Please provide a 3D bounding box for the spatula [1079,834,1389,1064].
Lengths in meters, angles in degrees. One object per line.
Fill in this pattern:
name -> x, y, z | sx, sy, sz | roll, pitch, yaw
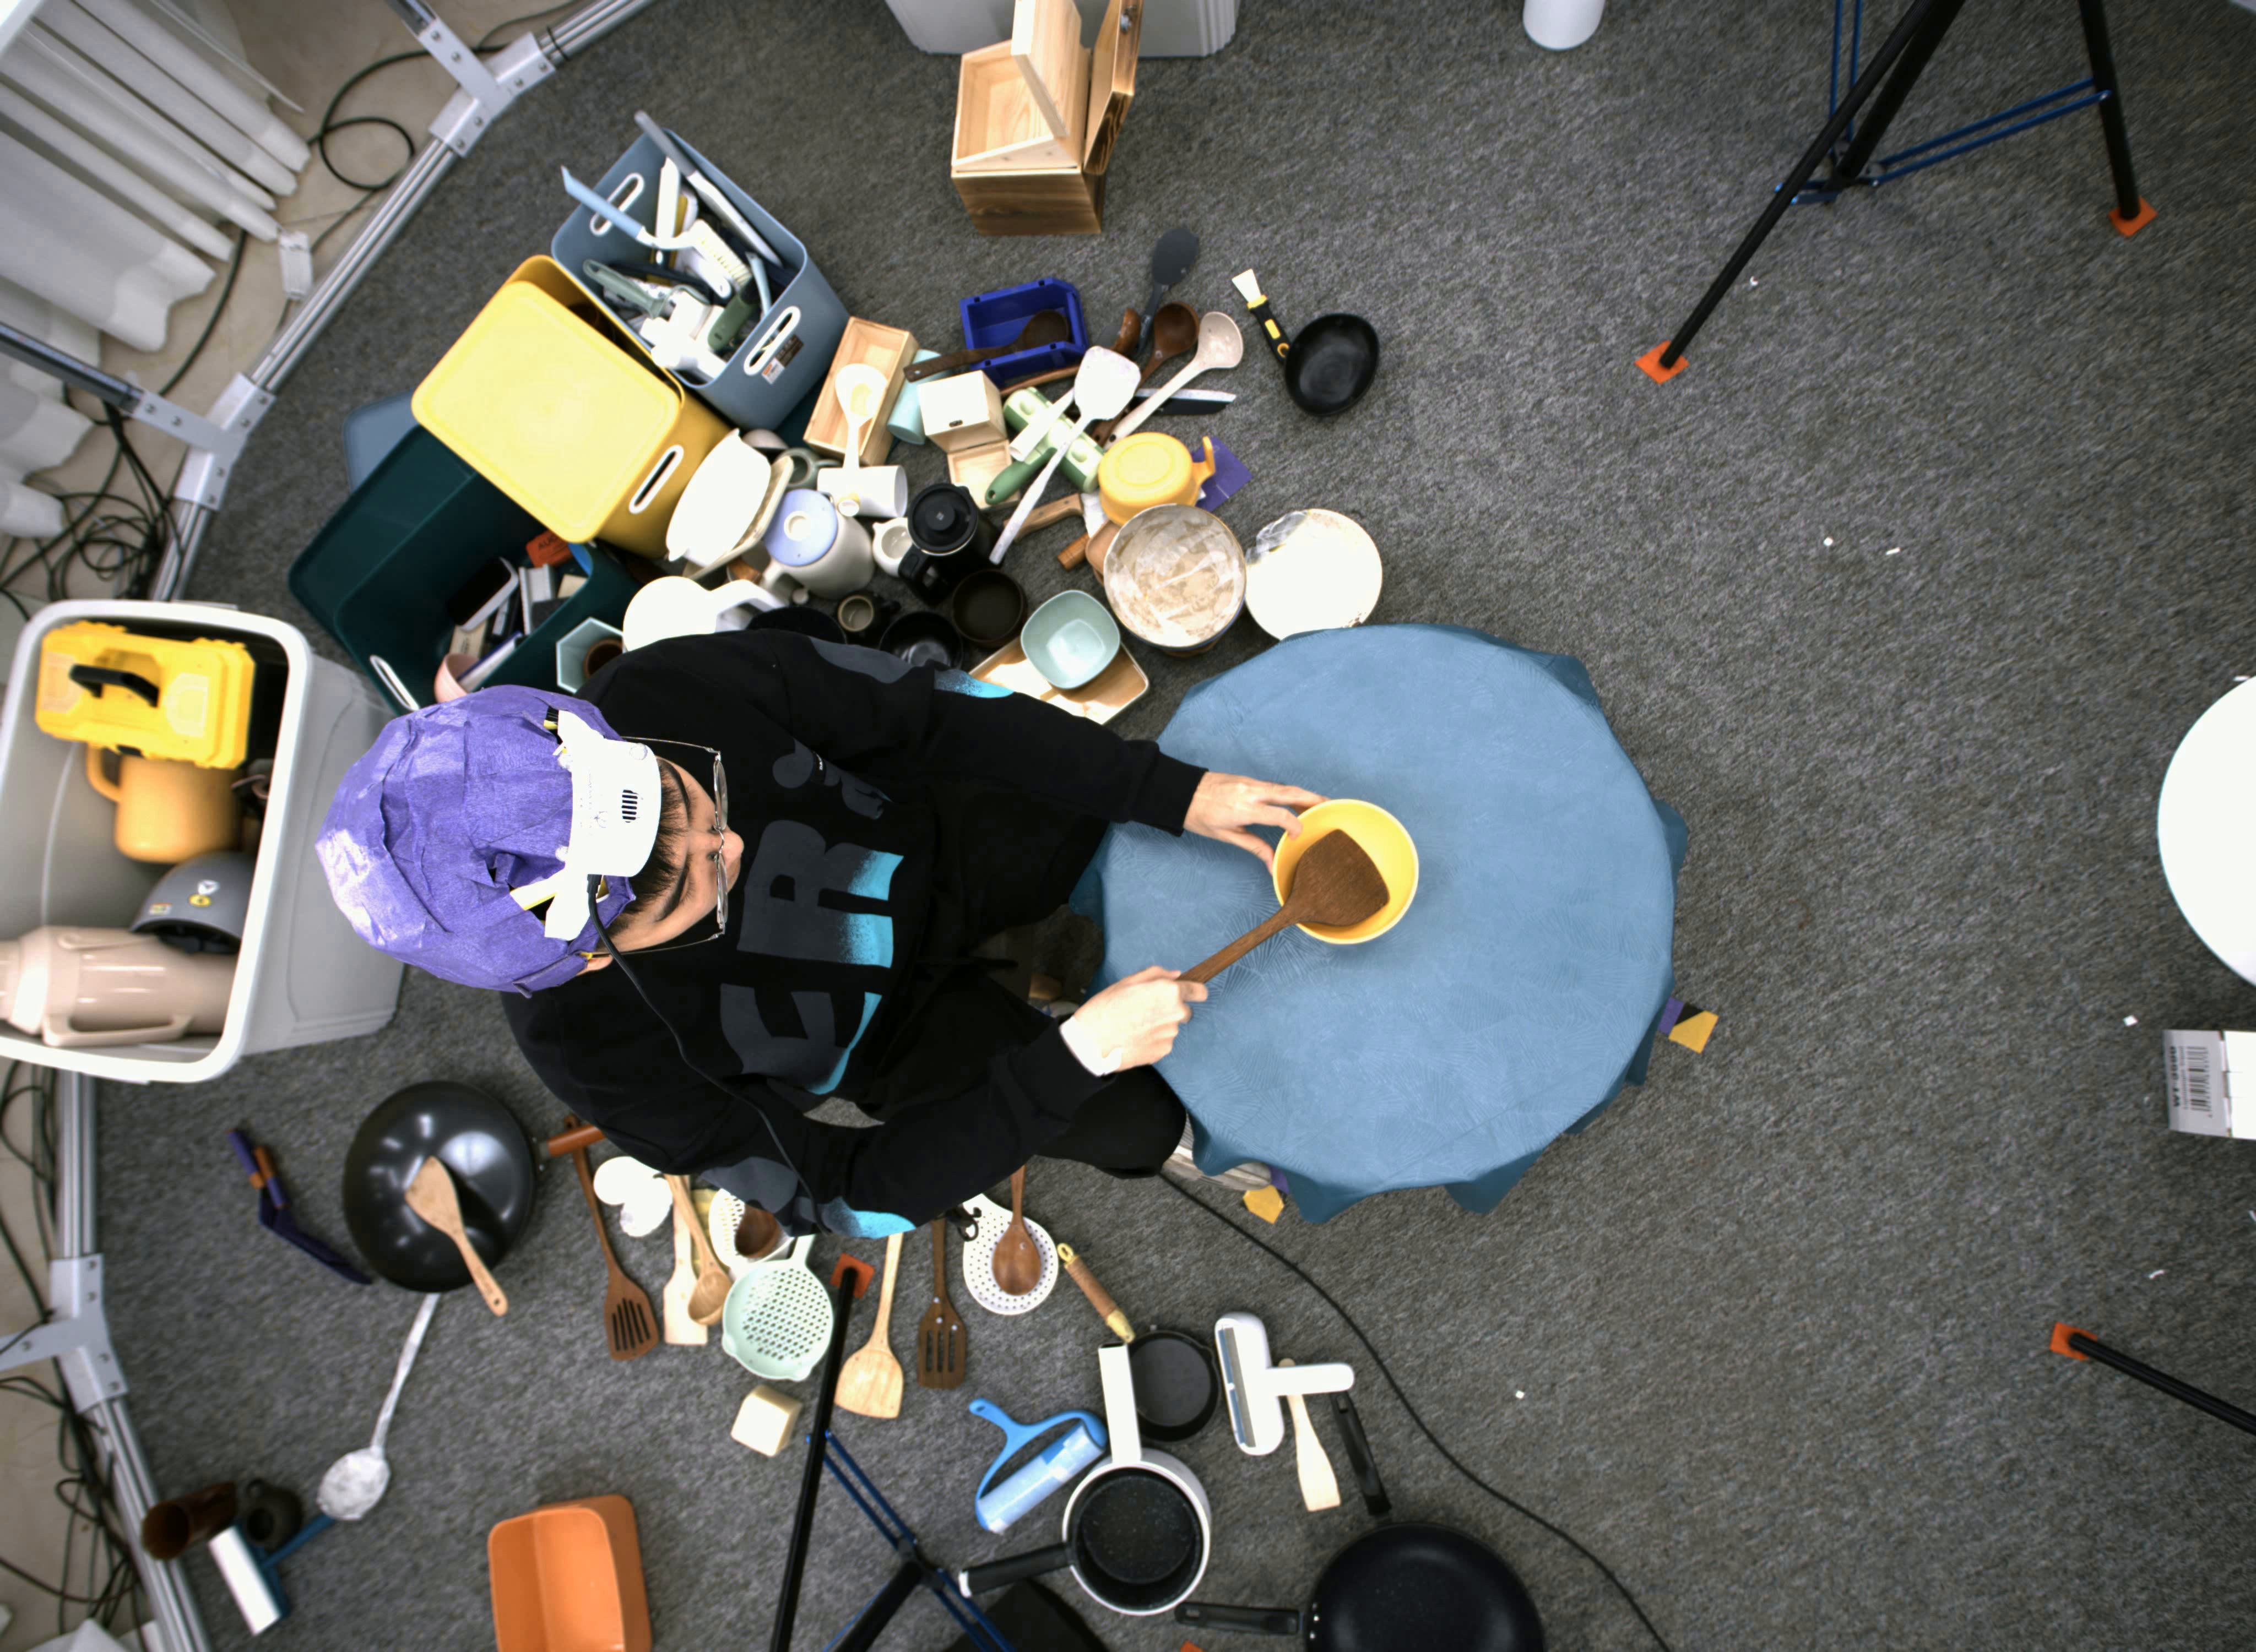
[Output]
spatula -> 0.105, 0.124, 1.340 | 0.380, 0.016, 0.095 | -30, 82, -28

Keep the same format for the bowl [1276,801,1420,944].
bowl -> 0.224, 0.046, 1.412 | 0.146, 0.060, 0.145 | 0, 93, 8
